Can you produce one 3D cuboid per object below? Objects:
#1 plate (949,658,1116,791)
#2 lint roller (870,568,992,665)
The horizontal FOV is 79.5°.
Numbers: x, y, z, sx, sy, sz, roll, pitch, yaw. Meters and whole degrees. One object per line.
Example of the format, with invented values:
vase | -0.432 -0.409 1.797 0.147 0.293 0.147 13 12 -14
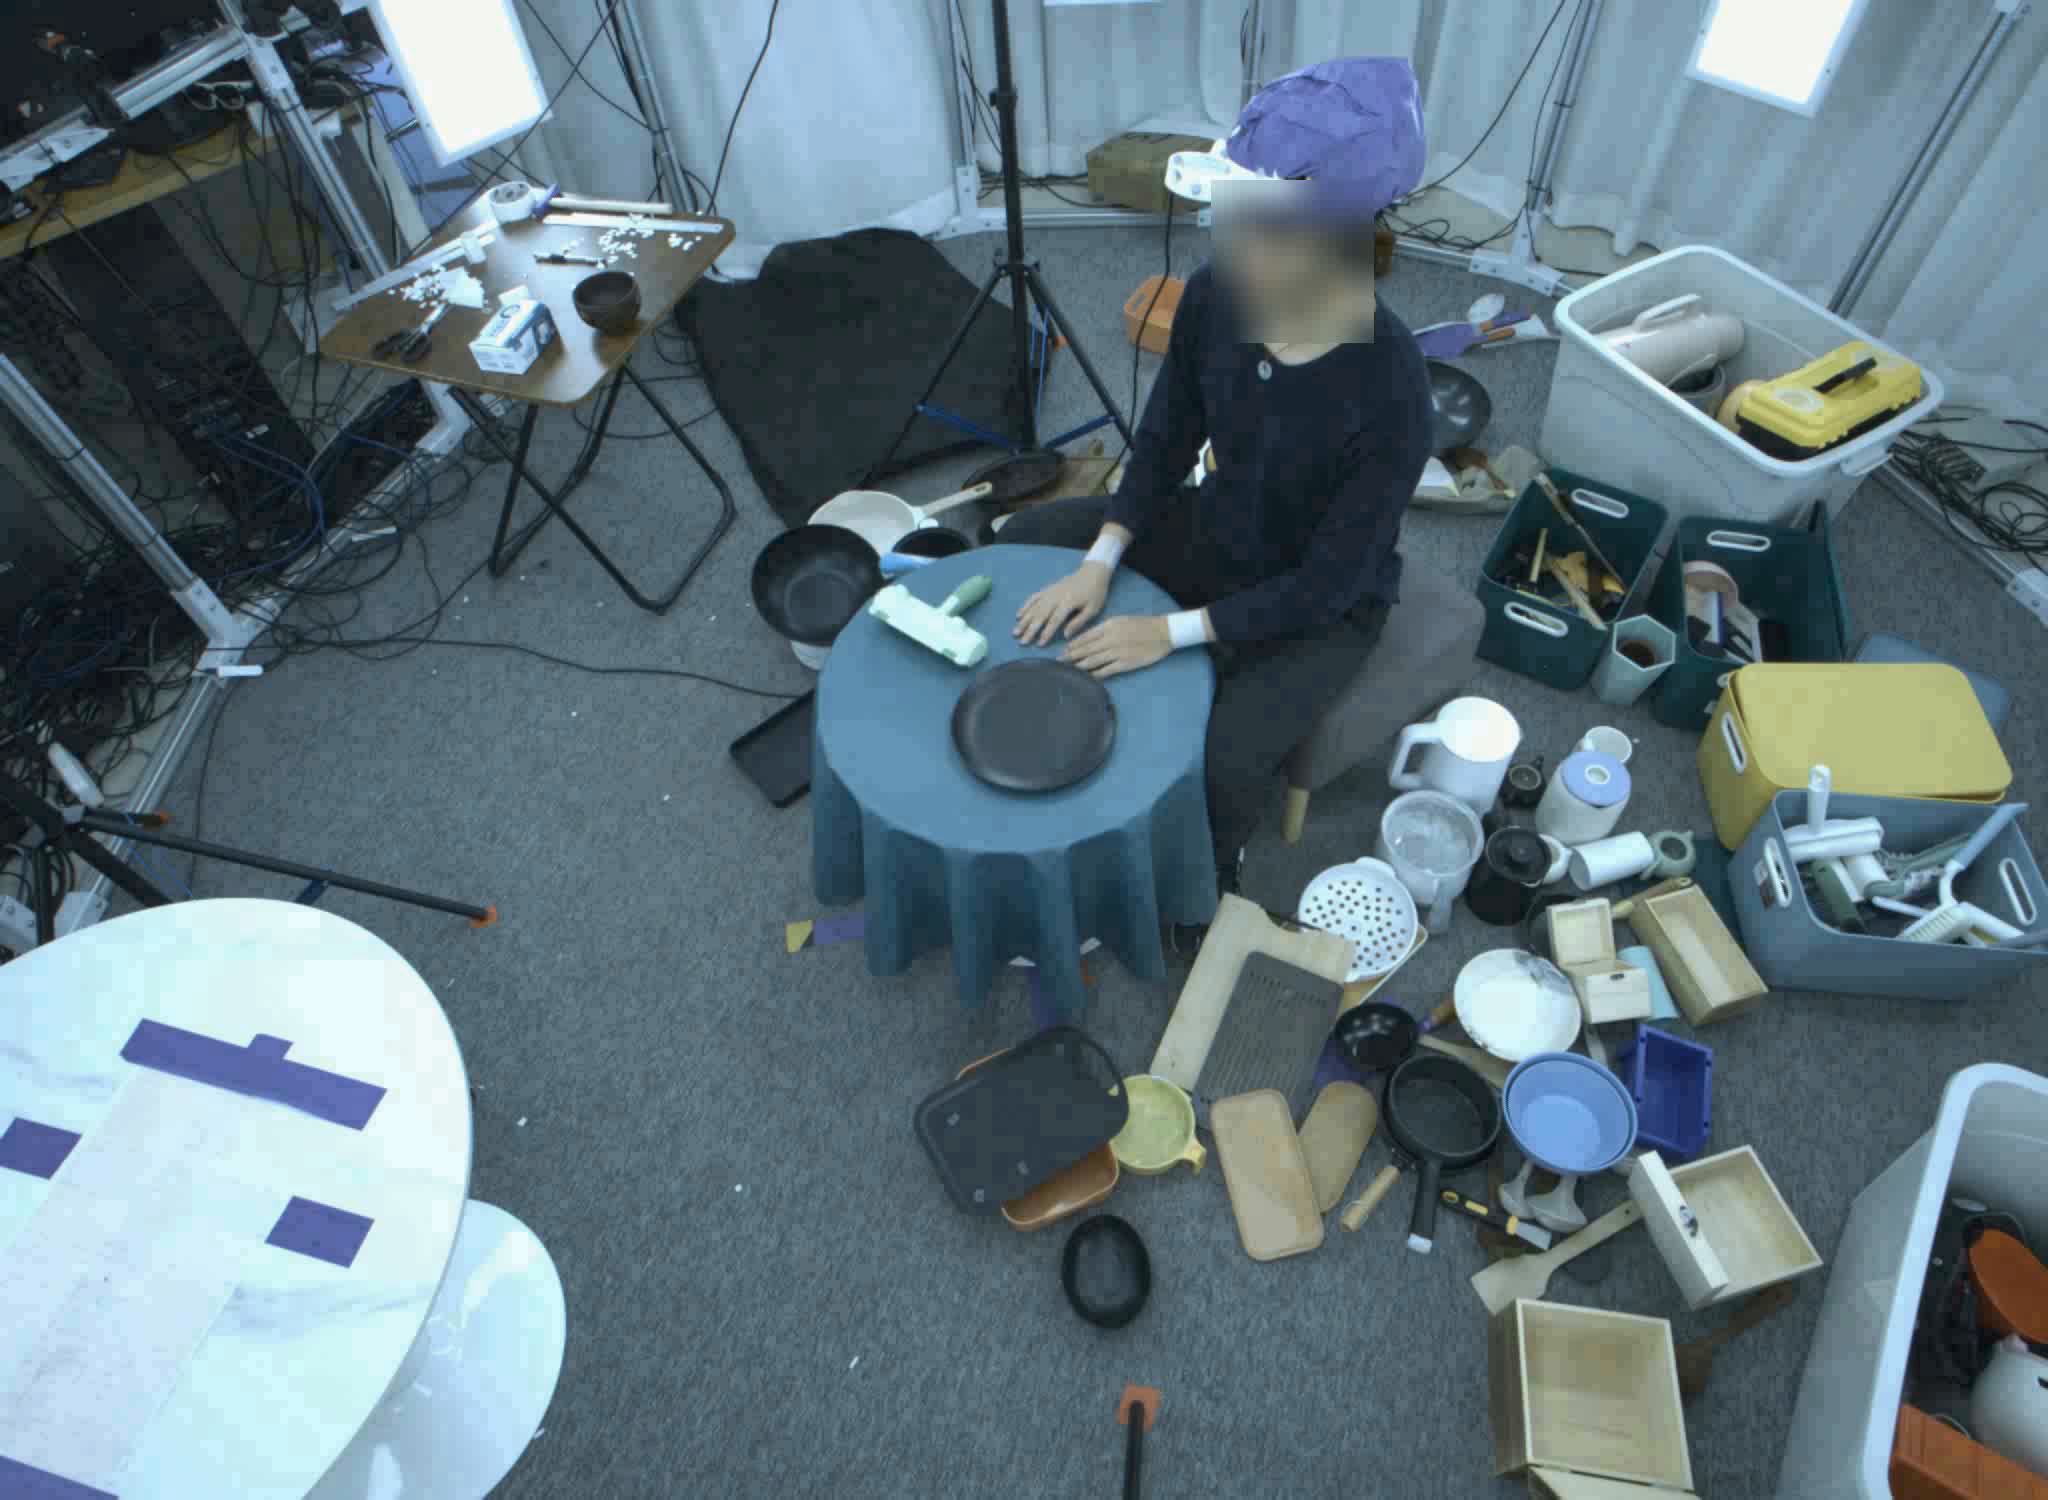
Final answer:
plate | 0.013 -0.036 1.797 0.244 0.024 0.242 0 55 2
lint roller | -0.114 -0.238 1.906 0.195 0.083 0.184 30 68 21
